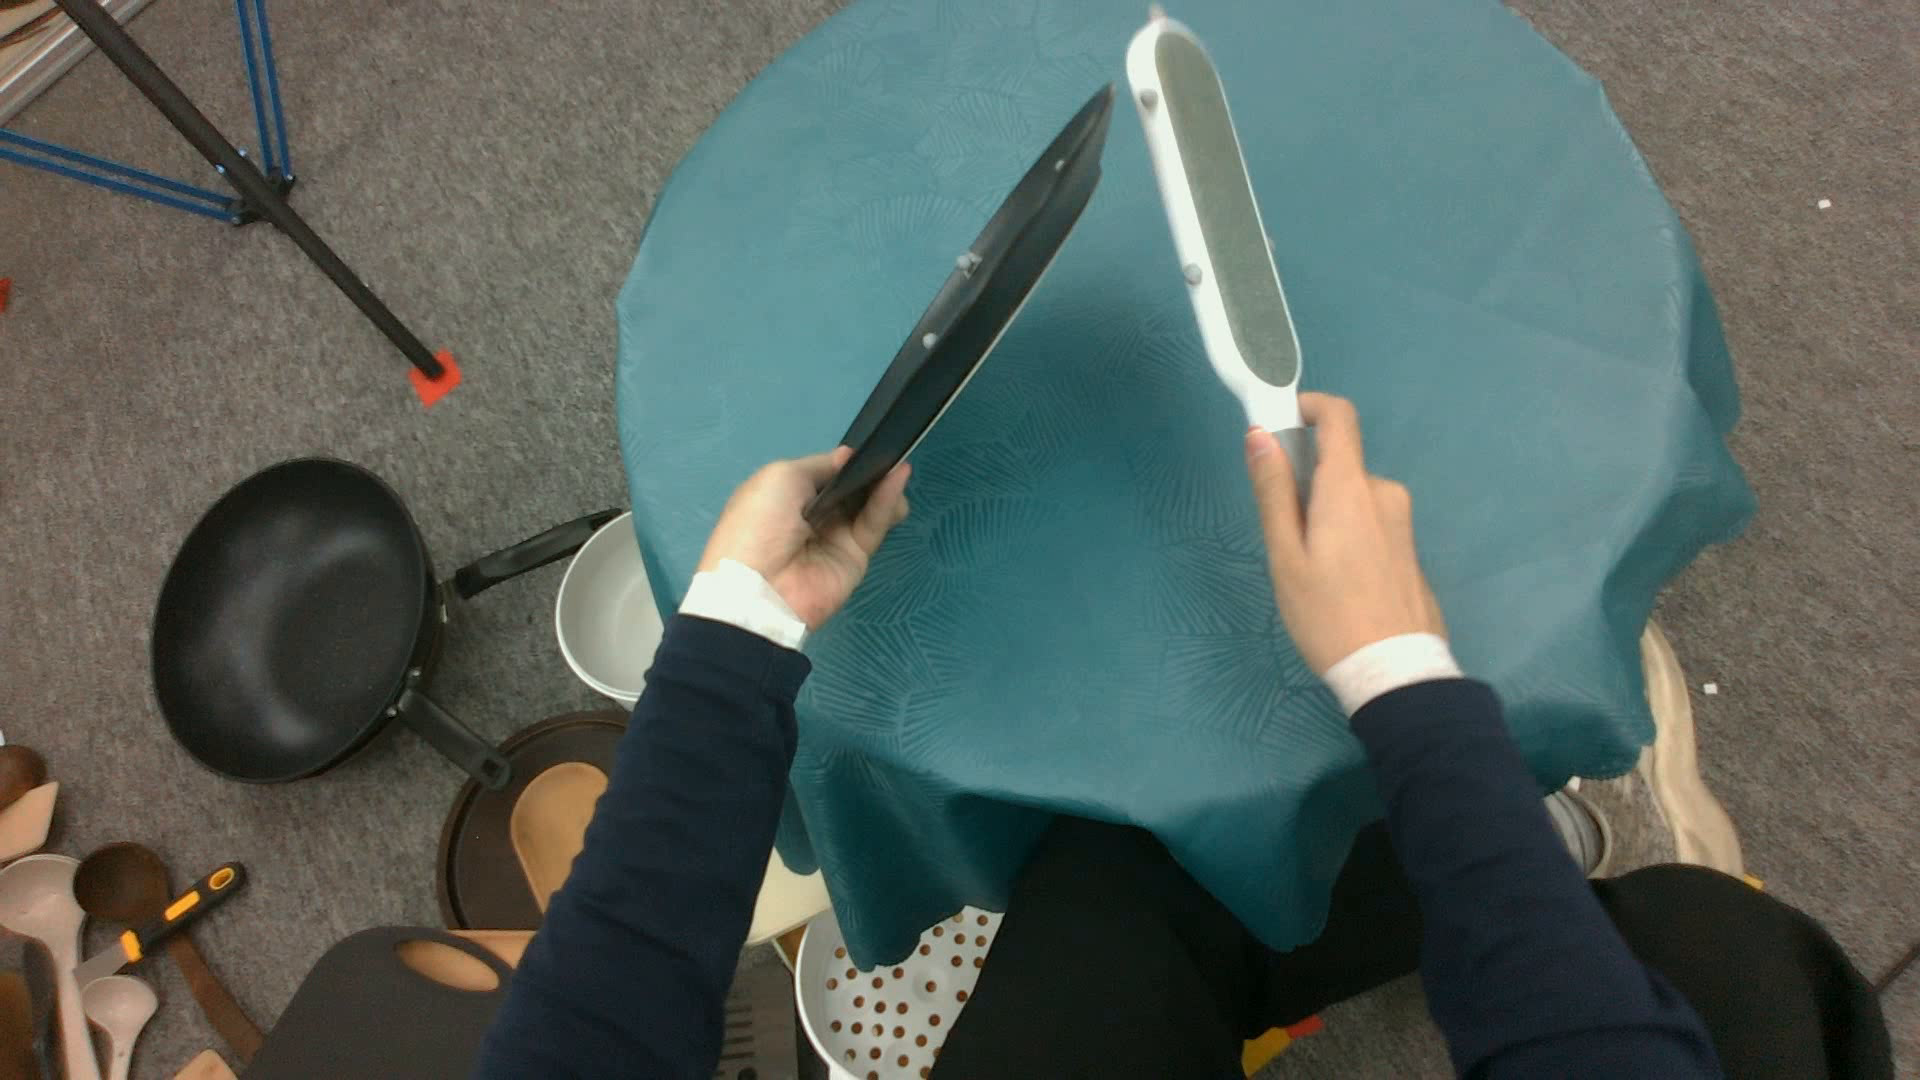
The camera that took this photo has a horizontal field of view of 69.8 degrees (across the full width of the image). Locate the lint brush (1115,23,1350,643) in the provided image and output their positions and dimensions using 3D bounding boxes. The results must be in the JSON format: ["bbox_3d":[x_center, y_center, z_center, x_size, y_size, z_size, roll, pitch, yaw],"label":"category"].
[{"bbox_3d":[0.127,-0.102,0.643,0.021,0.060,0.309,-23,77,39],"label":"lint brush"}]

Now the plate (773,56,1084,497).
[{"bbox_3d":[-0.010,-0.116,0.642,0.023,0.243,0.245,35,72,-10],"label":"plate"}]
